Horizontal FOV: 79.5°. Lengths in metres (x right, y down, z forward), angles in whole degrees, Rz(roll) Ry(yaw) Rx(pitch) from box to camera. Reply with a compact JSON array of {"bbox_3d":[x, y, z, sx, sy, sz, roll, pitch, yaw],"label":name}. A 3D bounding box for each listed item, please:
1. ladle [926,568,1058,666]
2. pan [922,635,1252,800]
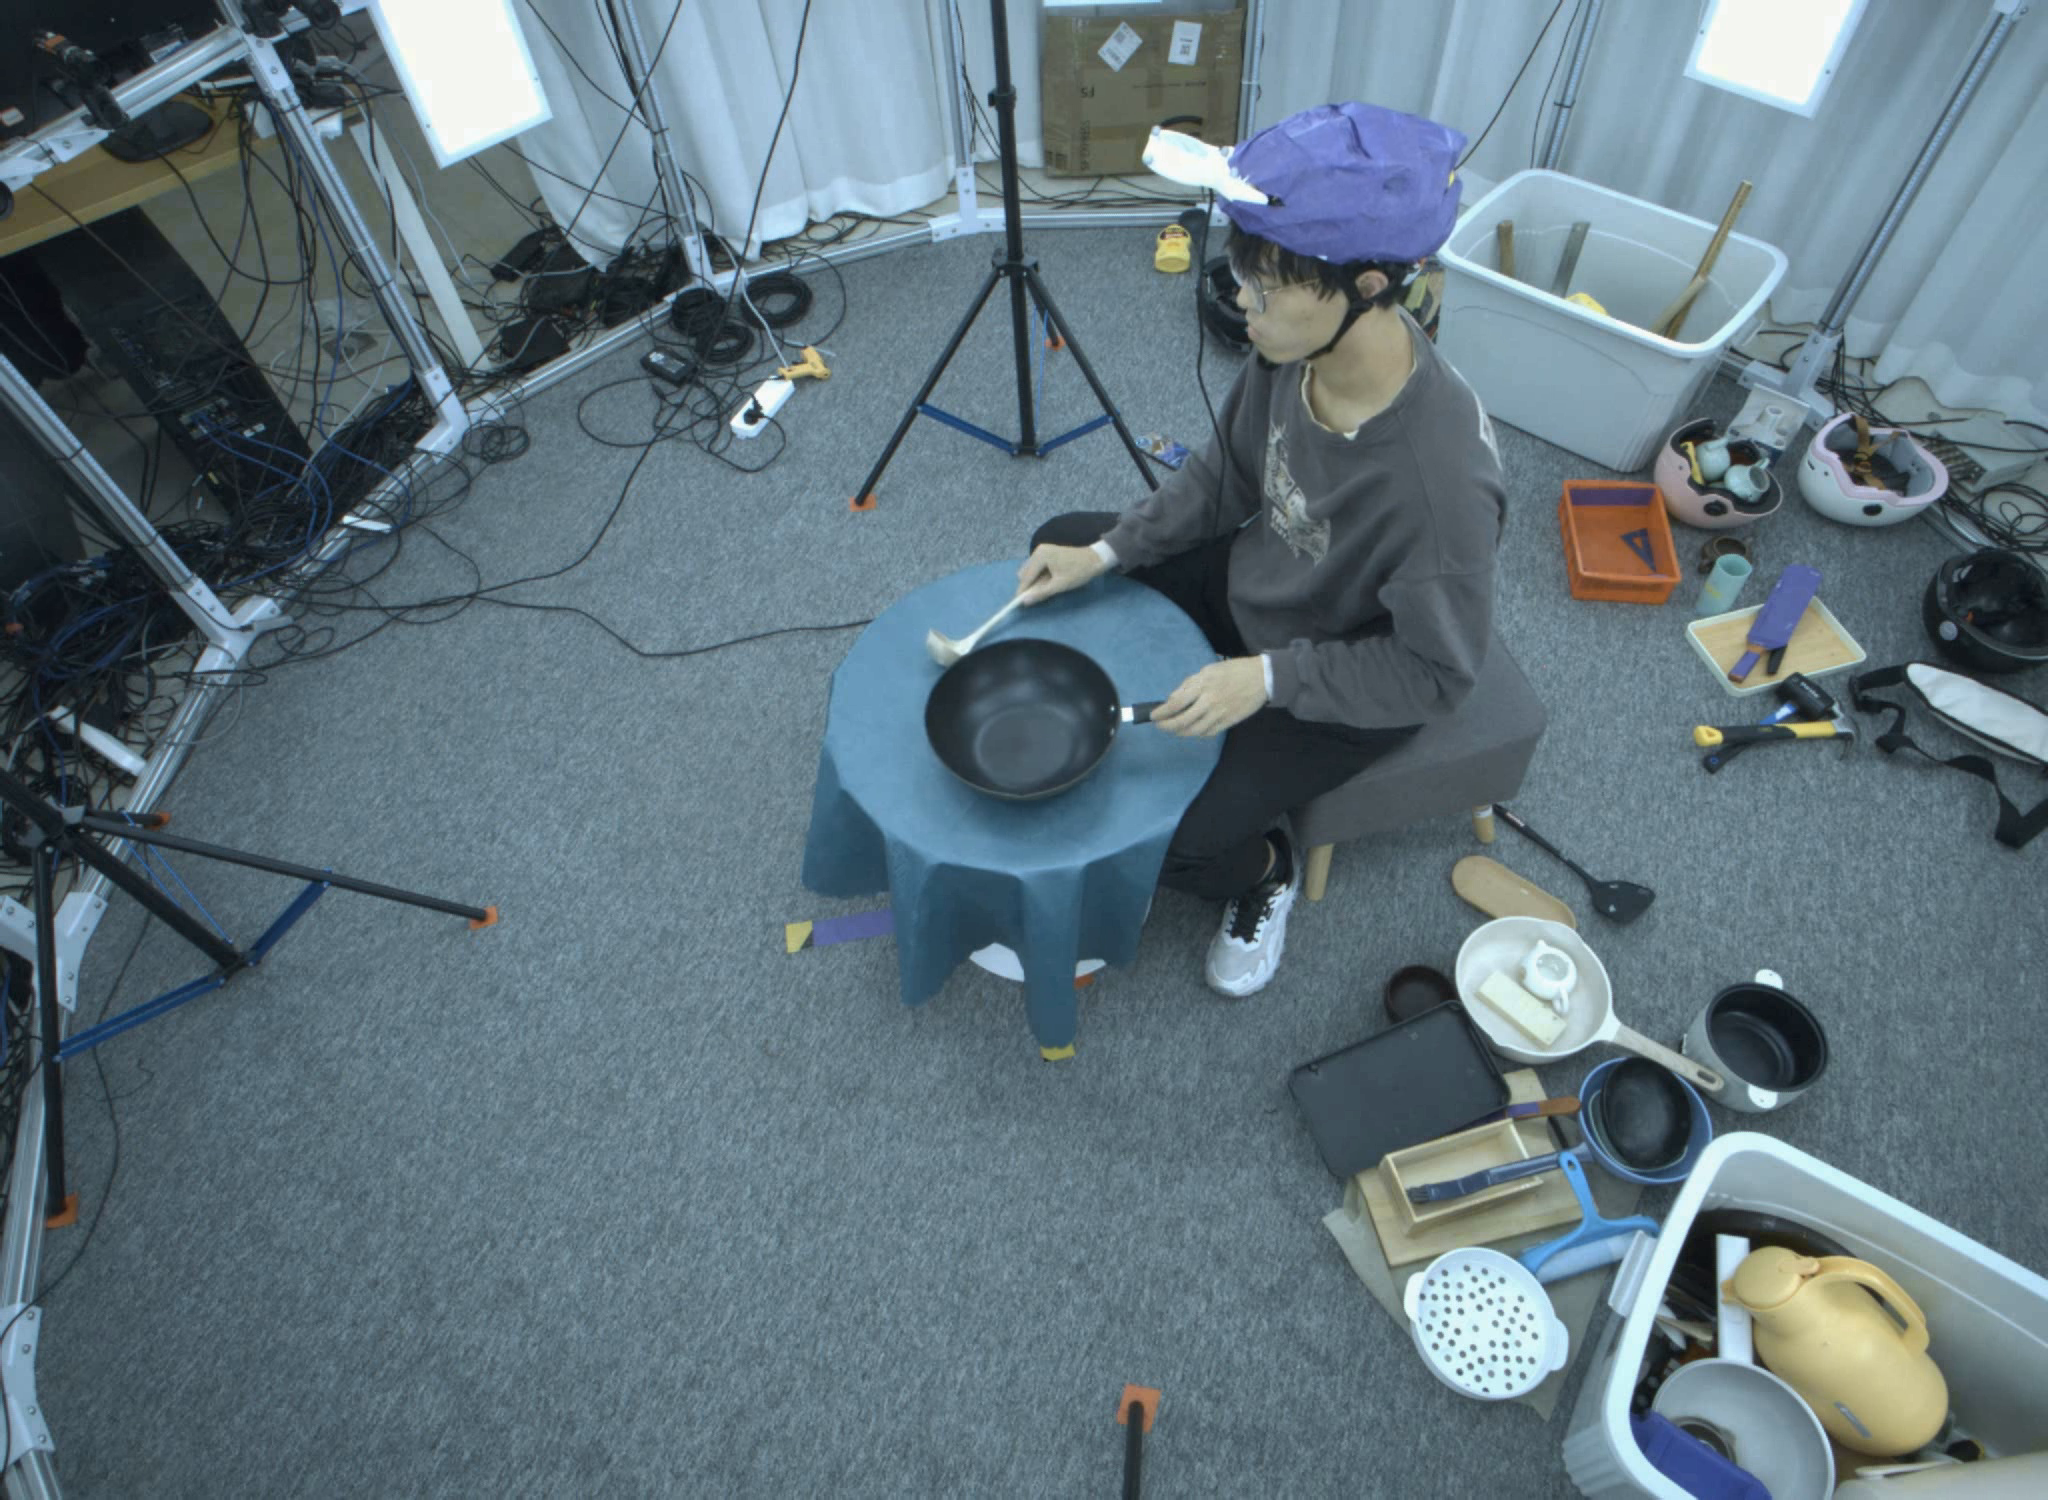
[{"bbox_3d":[-0.044,-0.224,1.888,0.255,0.074,0.071,-43,62,-17],"label":"ladle"},{"bbox_3d":[0.089,-0.035,1.756,0.463,0.088,0.285,0,54,0],"label":"pan"}]
